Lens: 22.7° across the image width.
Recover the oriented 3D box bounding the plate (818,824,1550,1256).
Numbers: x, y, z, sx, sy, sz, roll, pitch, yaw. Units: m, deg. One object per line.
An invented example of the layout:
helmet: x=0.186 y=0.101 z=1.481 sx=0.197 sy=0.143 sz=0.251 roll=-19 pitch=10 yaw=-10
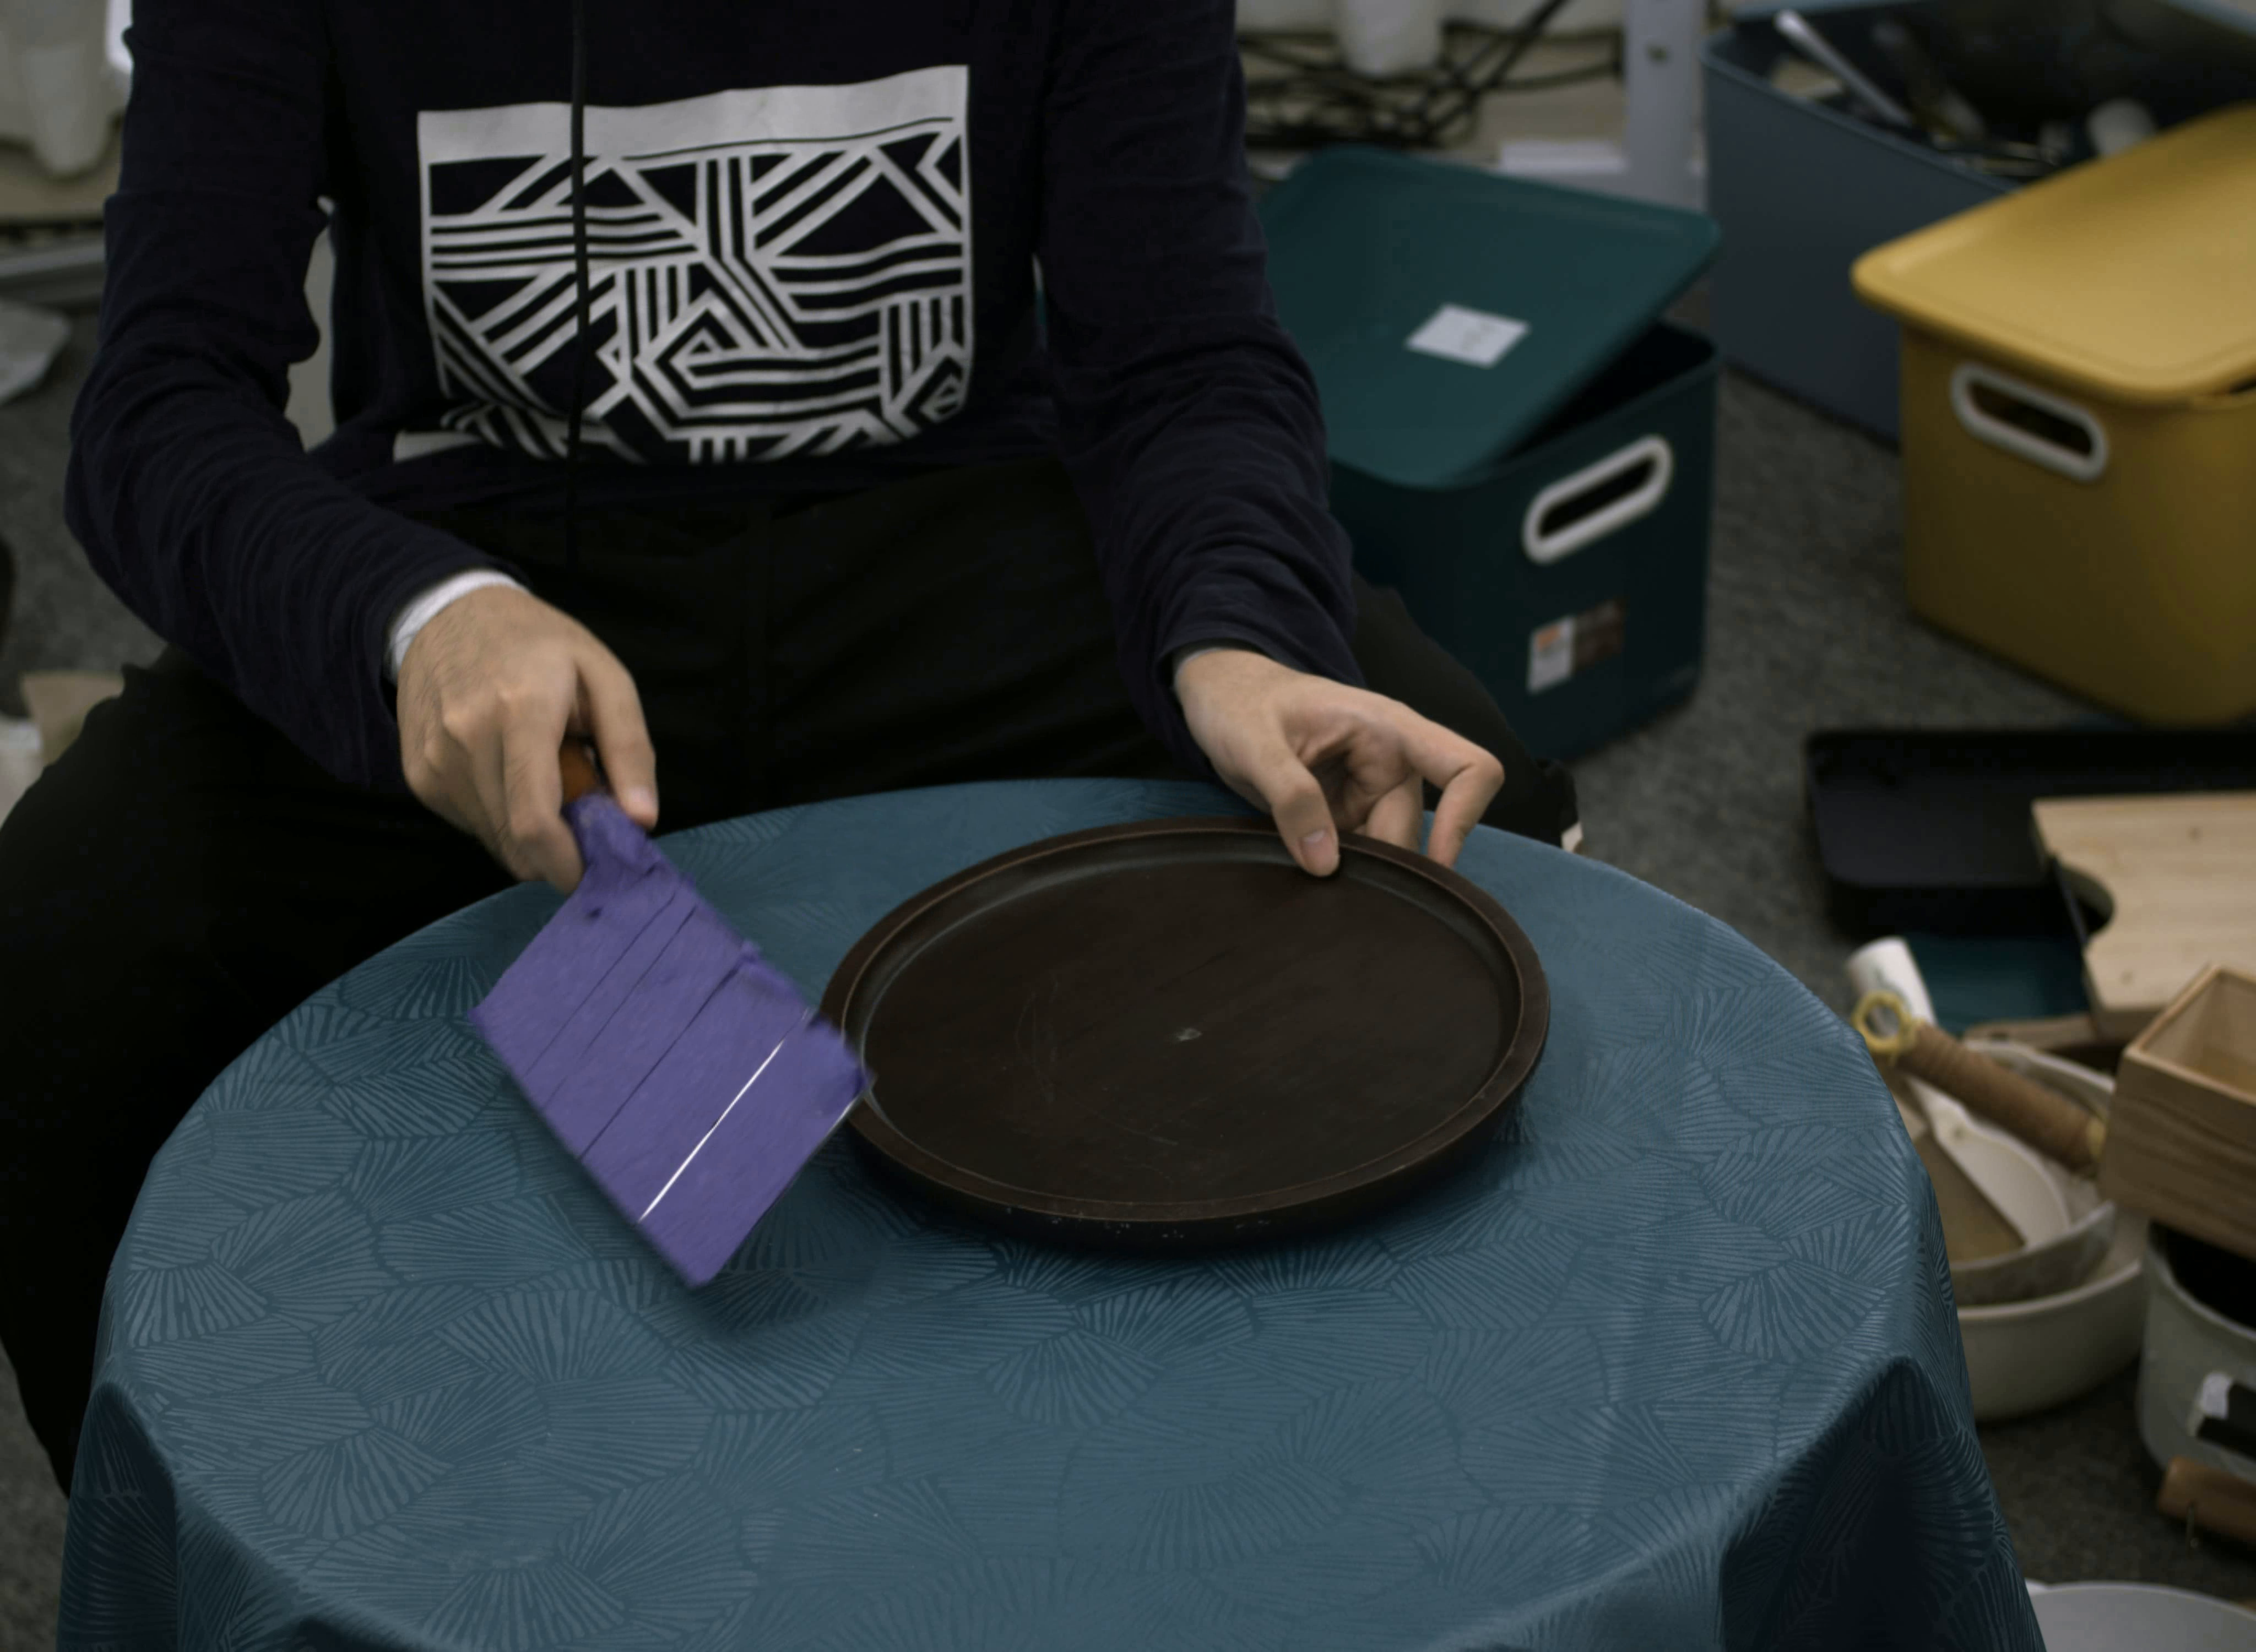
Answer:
plate: x=0.018 y=0.071 z=1.919 sx=0.253 sy=0.028 sz=0.259 roll=-3 pitch=31 yaw=2

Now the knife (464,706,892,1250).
knife: x=-0.177 y=0.048 z=1.902 sx=0.104 sy=0.032 sz=0.317 roll=-49 pitch=34 yaw=-1
